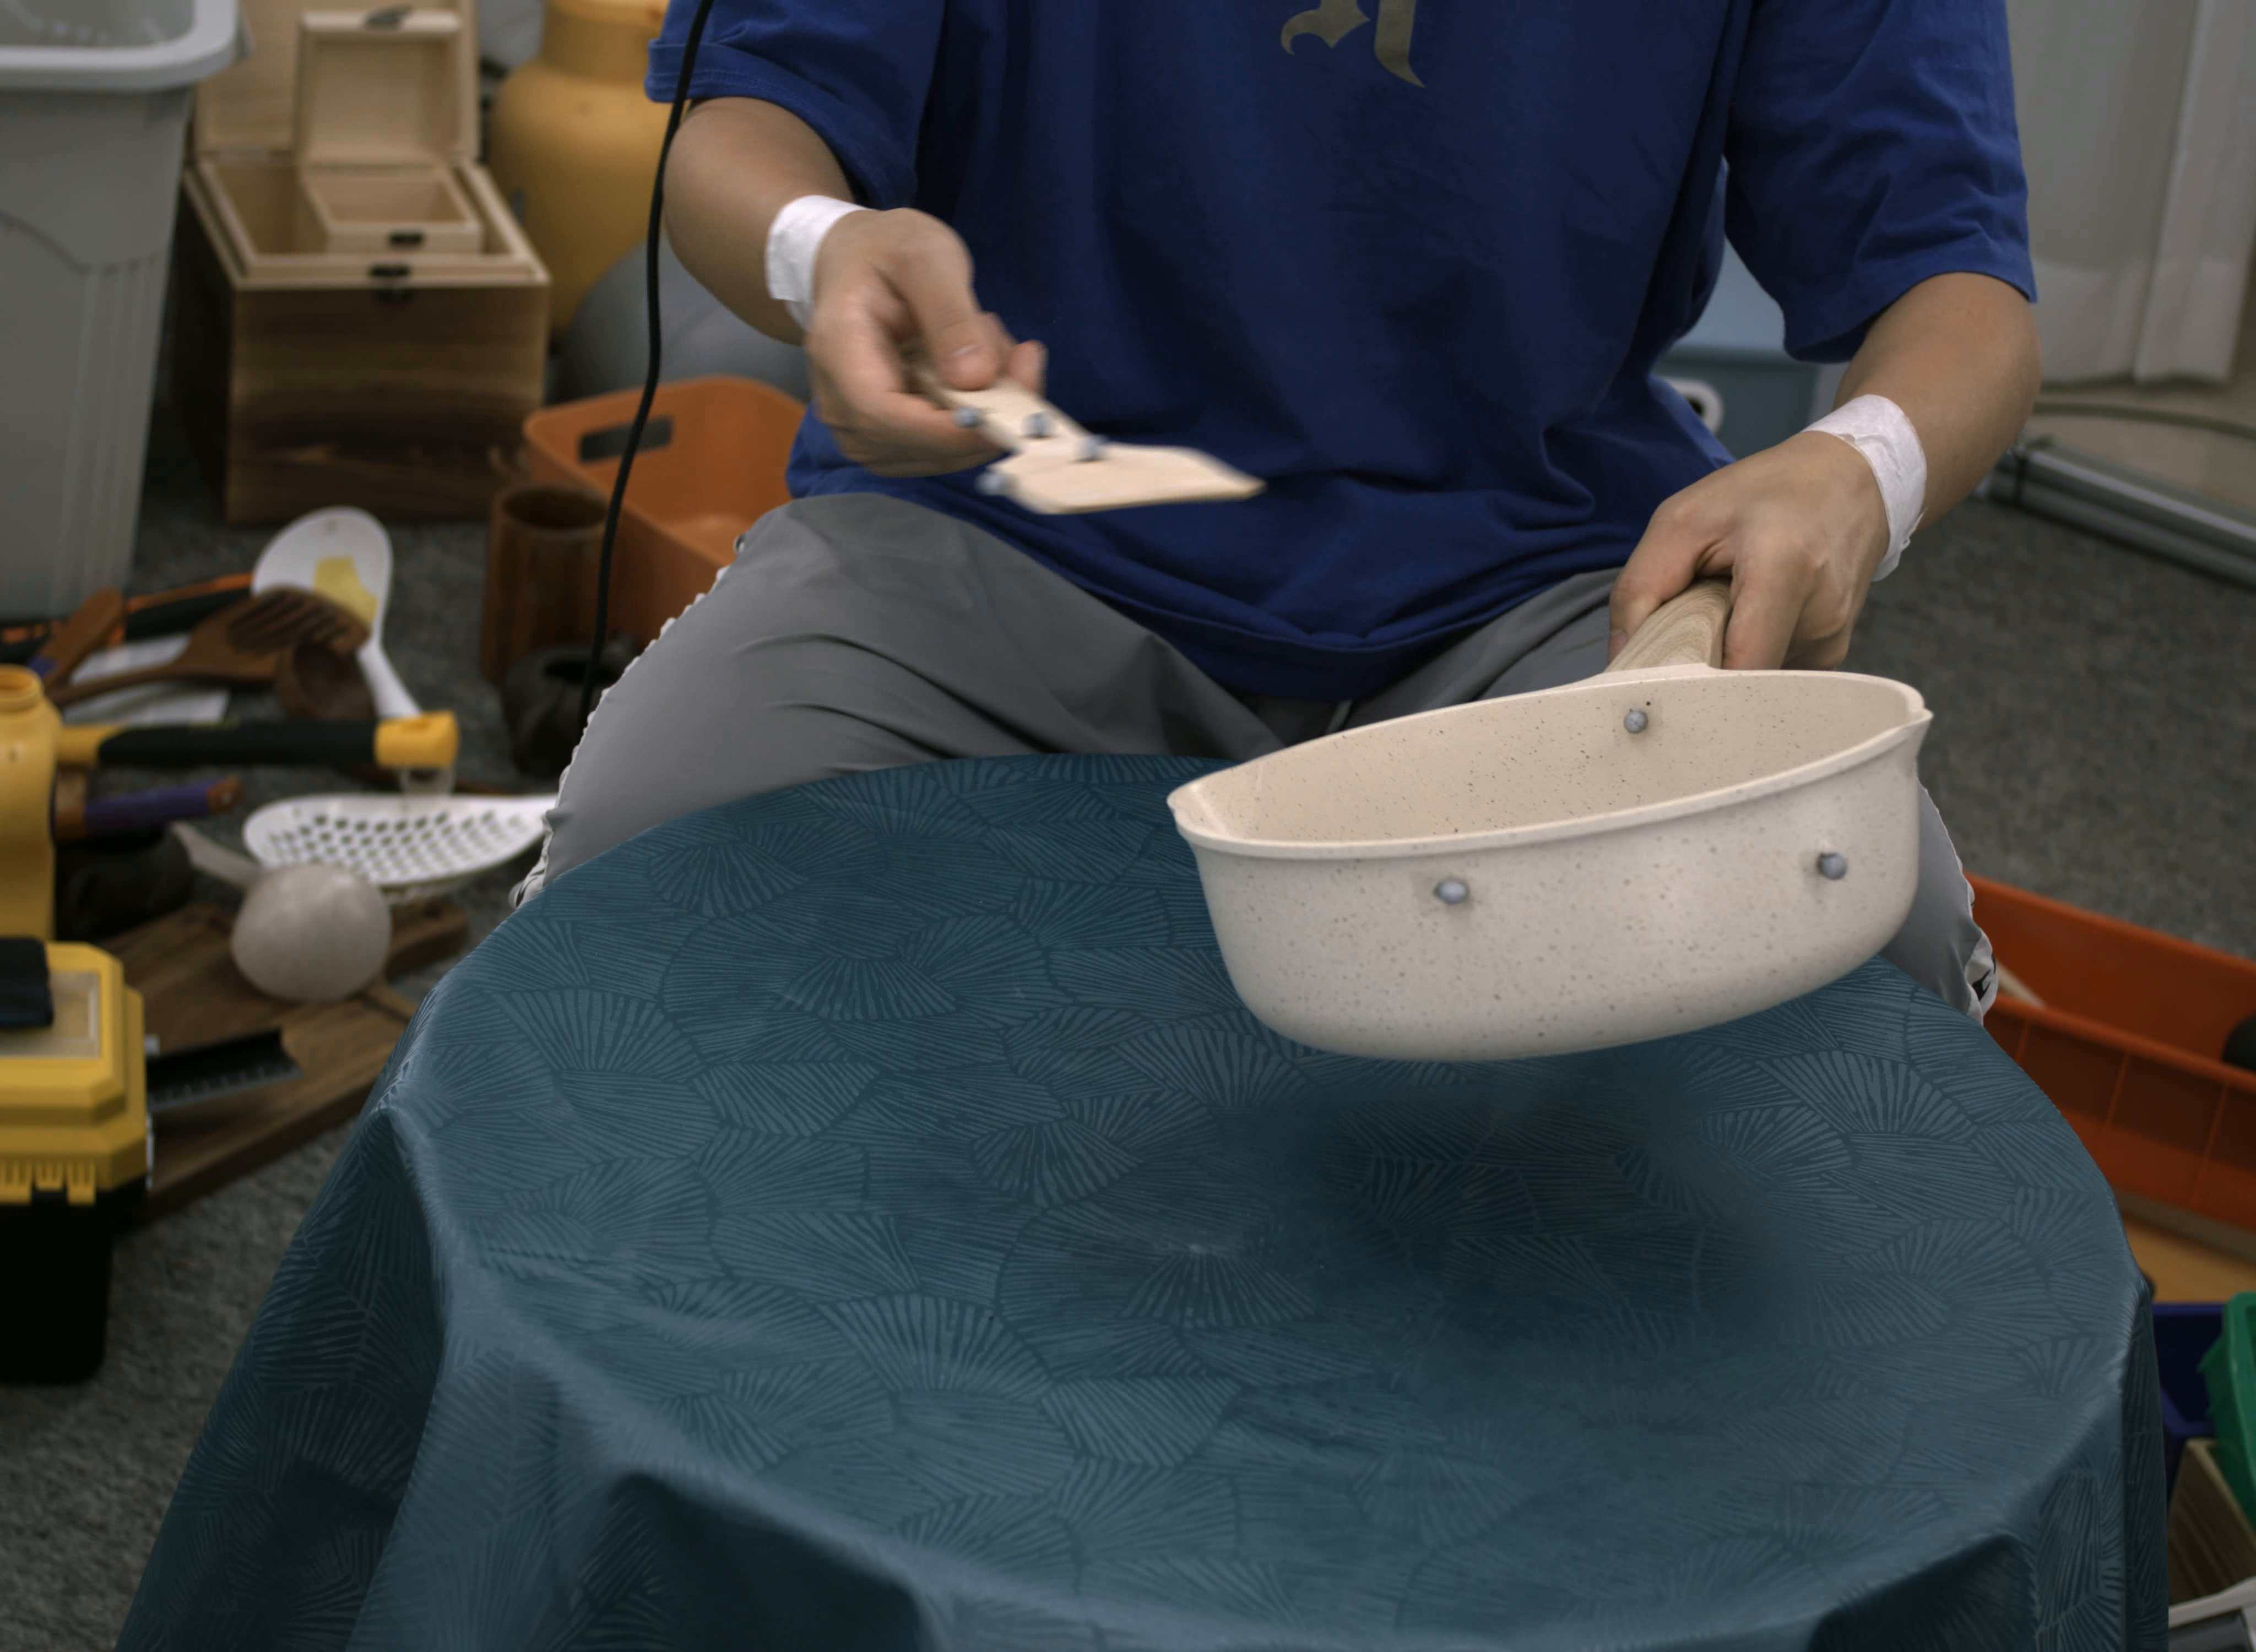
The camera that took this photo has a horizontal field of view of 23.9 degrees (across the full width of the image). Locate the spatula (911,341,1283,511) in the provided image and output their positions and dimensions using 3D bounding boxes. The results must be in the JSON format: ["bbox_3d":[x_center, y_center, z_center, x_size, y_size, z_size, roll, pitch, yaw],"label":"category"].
[{"bbox_3d":[-0.026,-0.142,1.870,0.072,0.010,0.295,-9,17,-16],"label":"spatula"}]

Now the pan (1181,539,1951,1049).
[{"bbox_3d":[0.178,-0.016,1.855,0.264,0.102,0.434,-7,10,20],"label":"pan"}]
